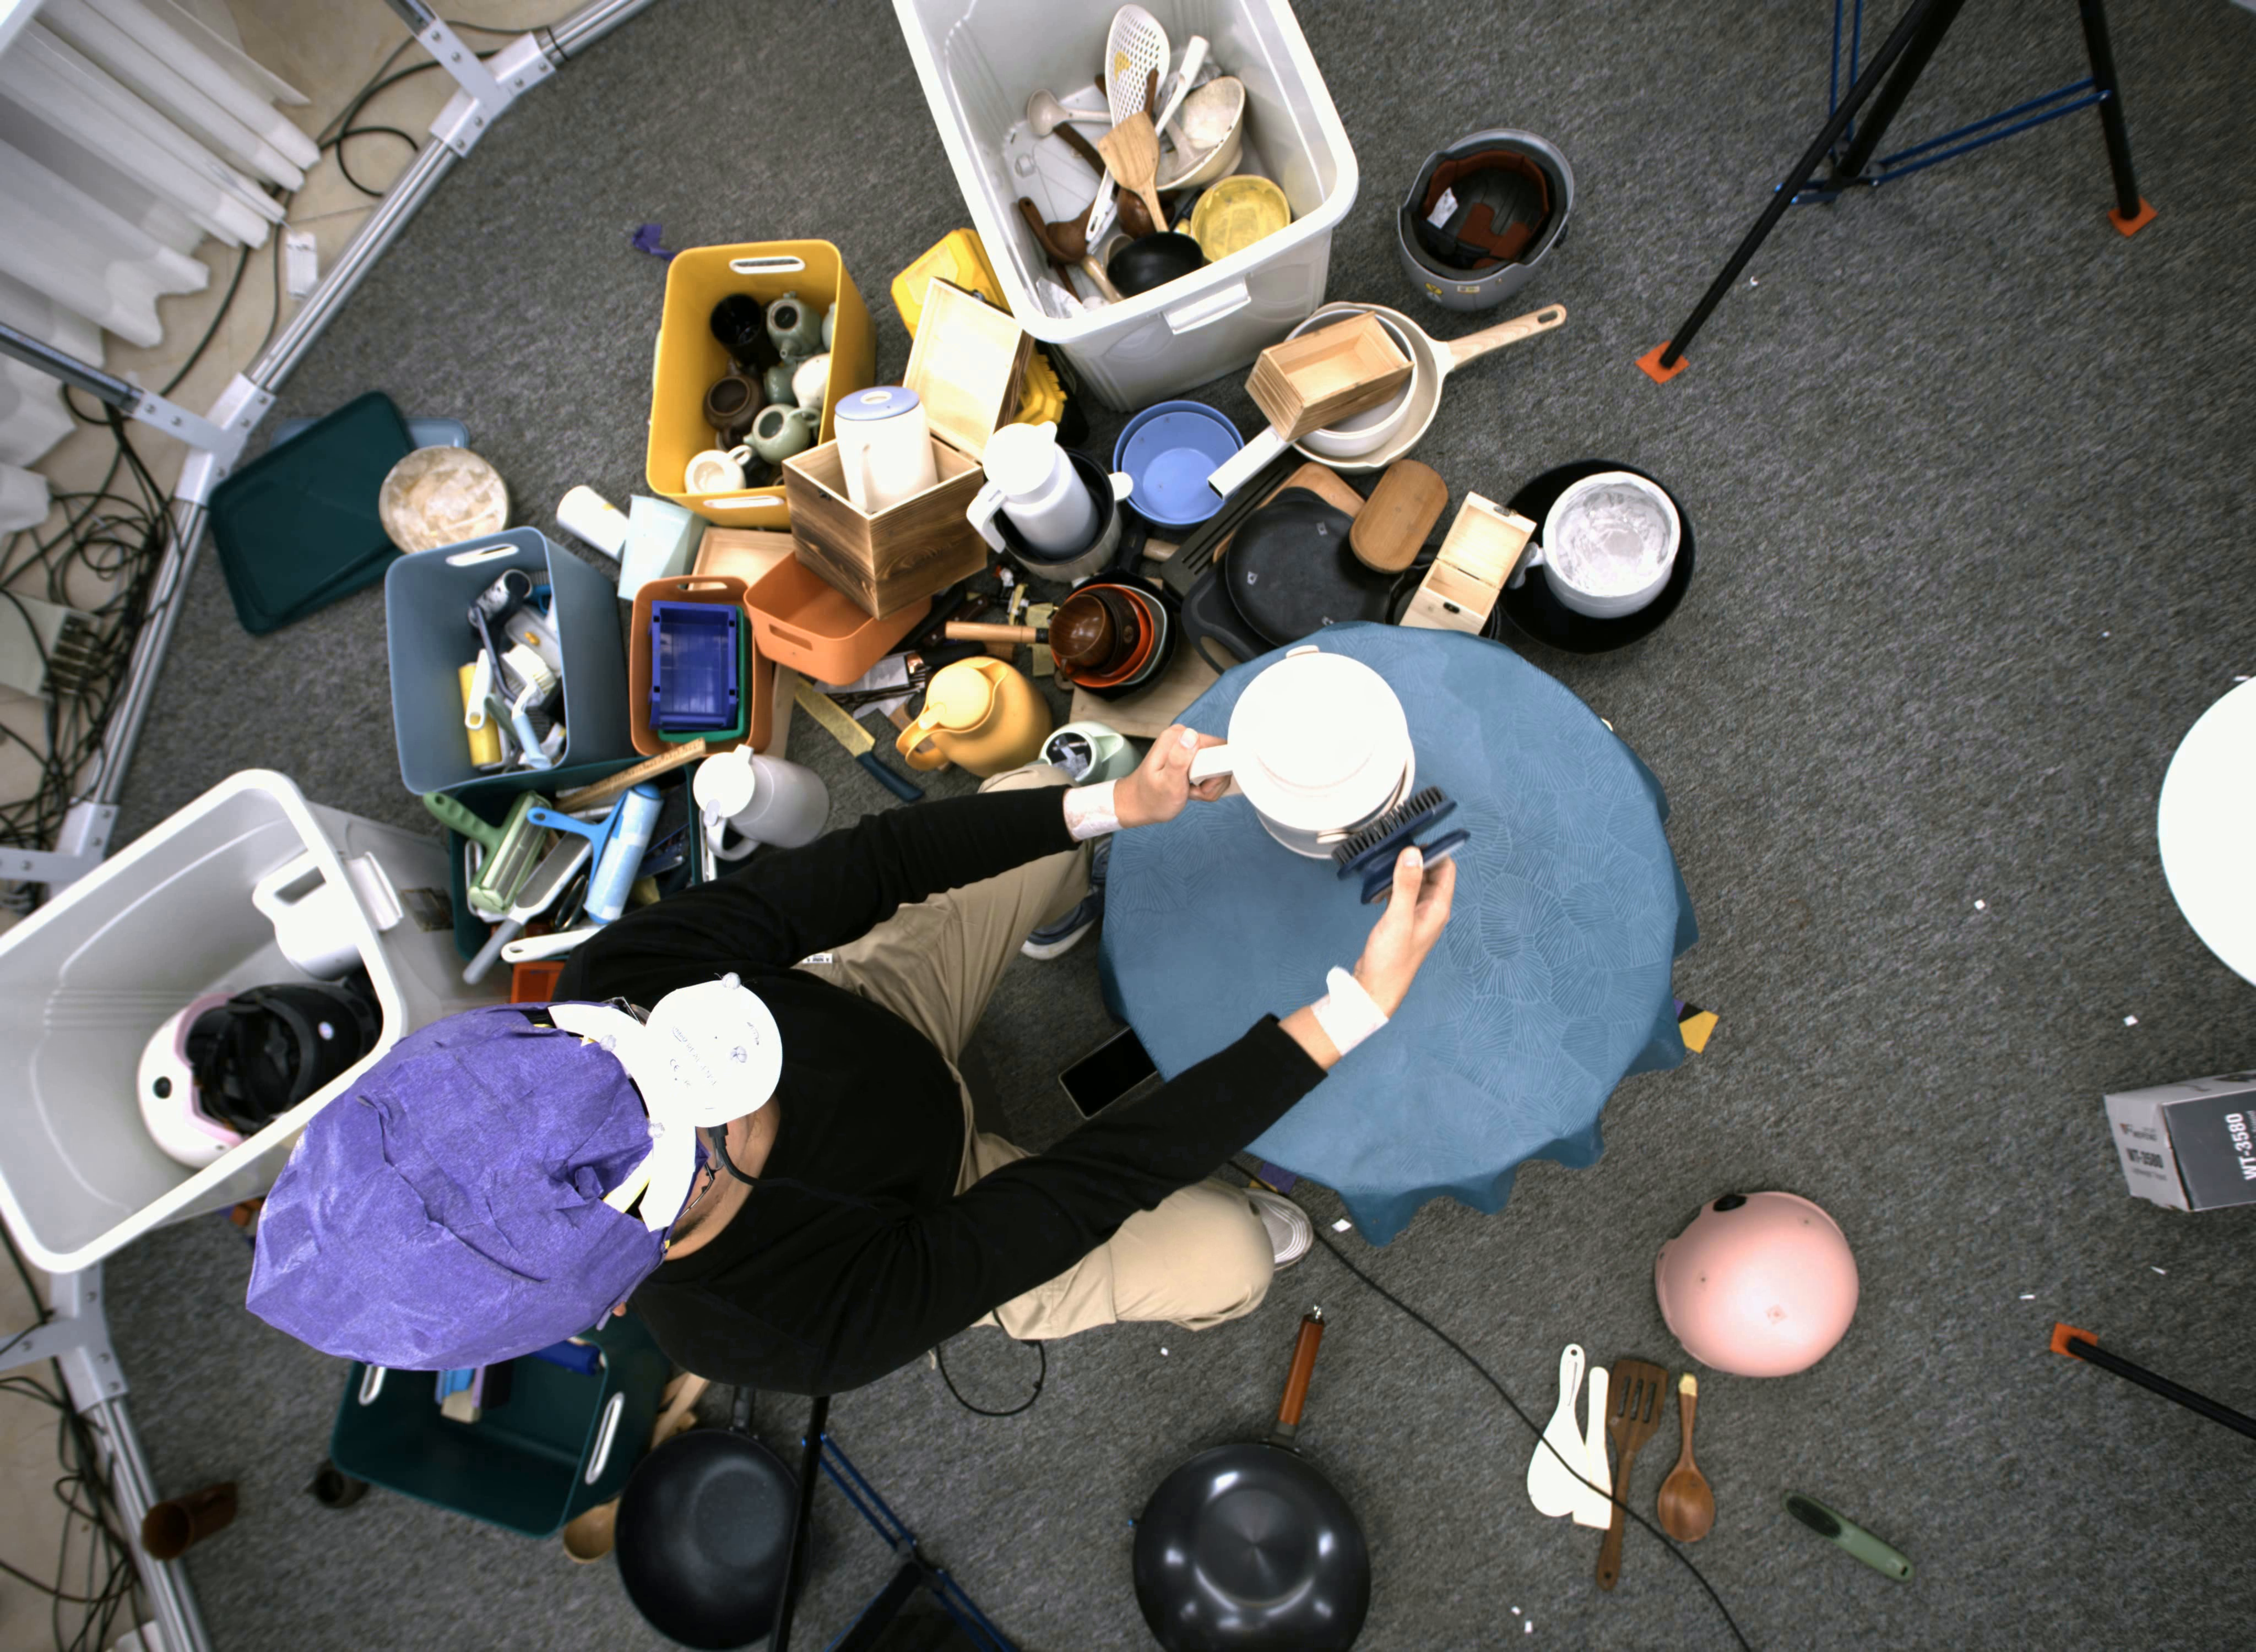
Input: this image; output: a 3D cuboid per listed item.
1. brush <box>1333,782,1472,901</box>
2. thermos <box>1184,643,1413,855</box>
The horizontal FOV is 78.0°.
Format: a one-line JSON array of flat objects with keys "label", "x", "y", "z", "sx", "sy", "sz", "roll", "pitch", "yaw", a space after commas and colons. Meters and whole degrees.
[{"label": "brush", "x": 0.235, "y": 0.010, "z": 1.195, "sx": 0.122, "sy": 0.068, "sz": 0.061, "roll": -34, "pitch": 78, "yaw": 10}, {"label": "thermos", "x": 0.164, "y": -0.066, "z": 1.286, "sx": 0.208, "sy": 0.406, "sz": 0.174, "roll": -10, "pitch": 84, "yaw": 8}]
